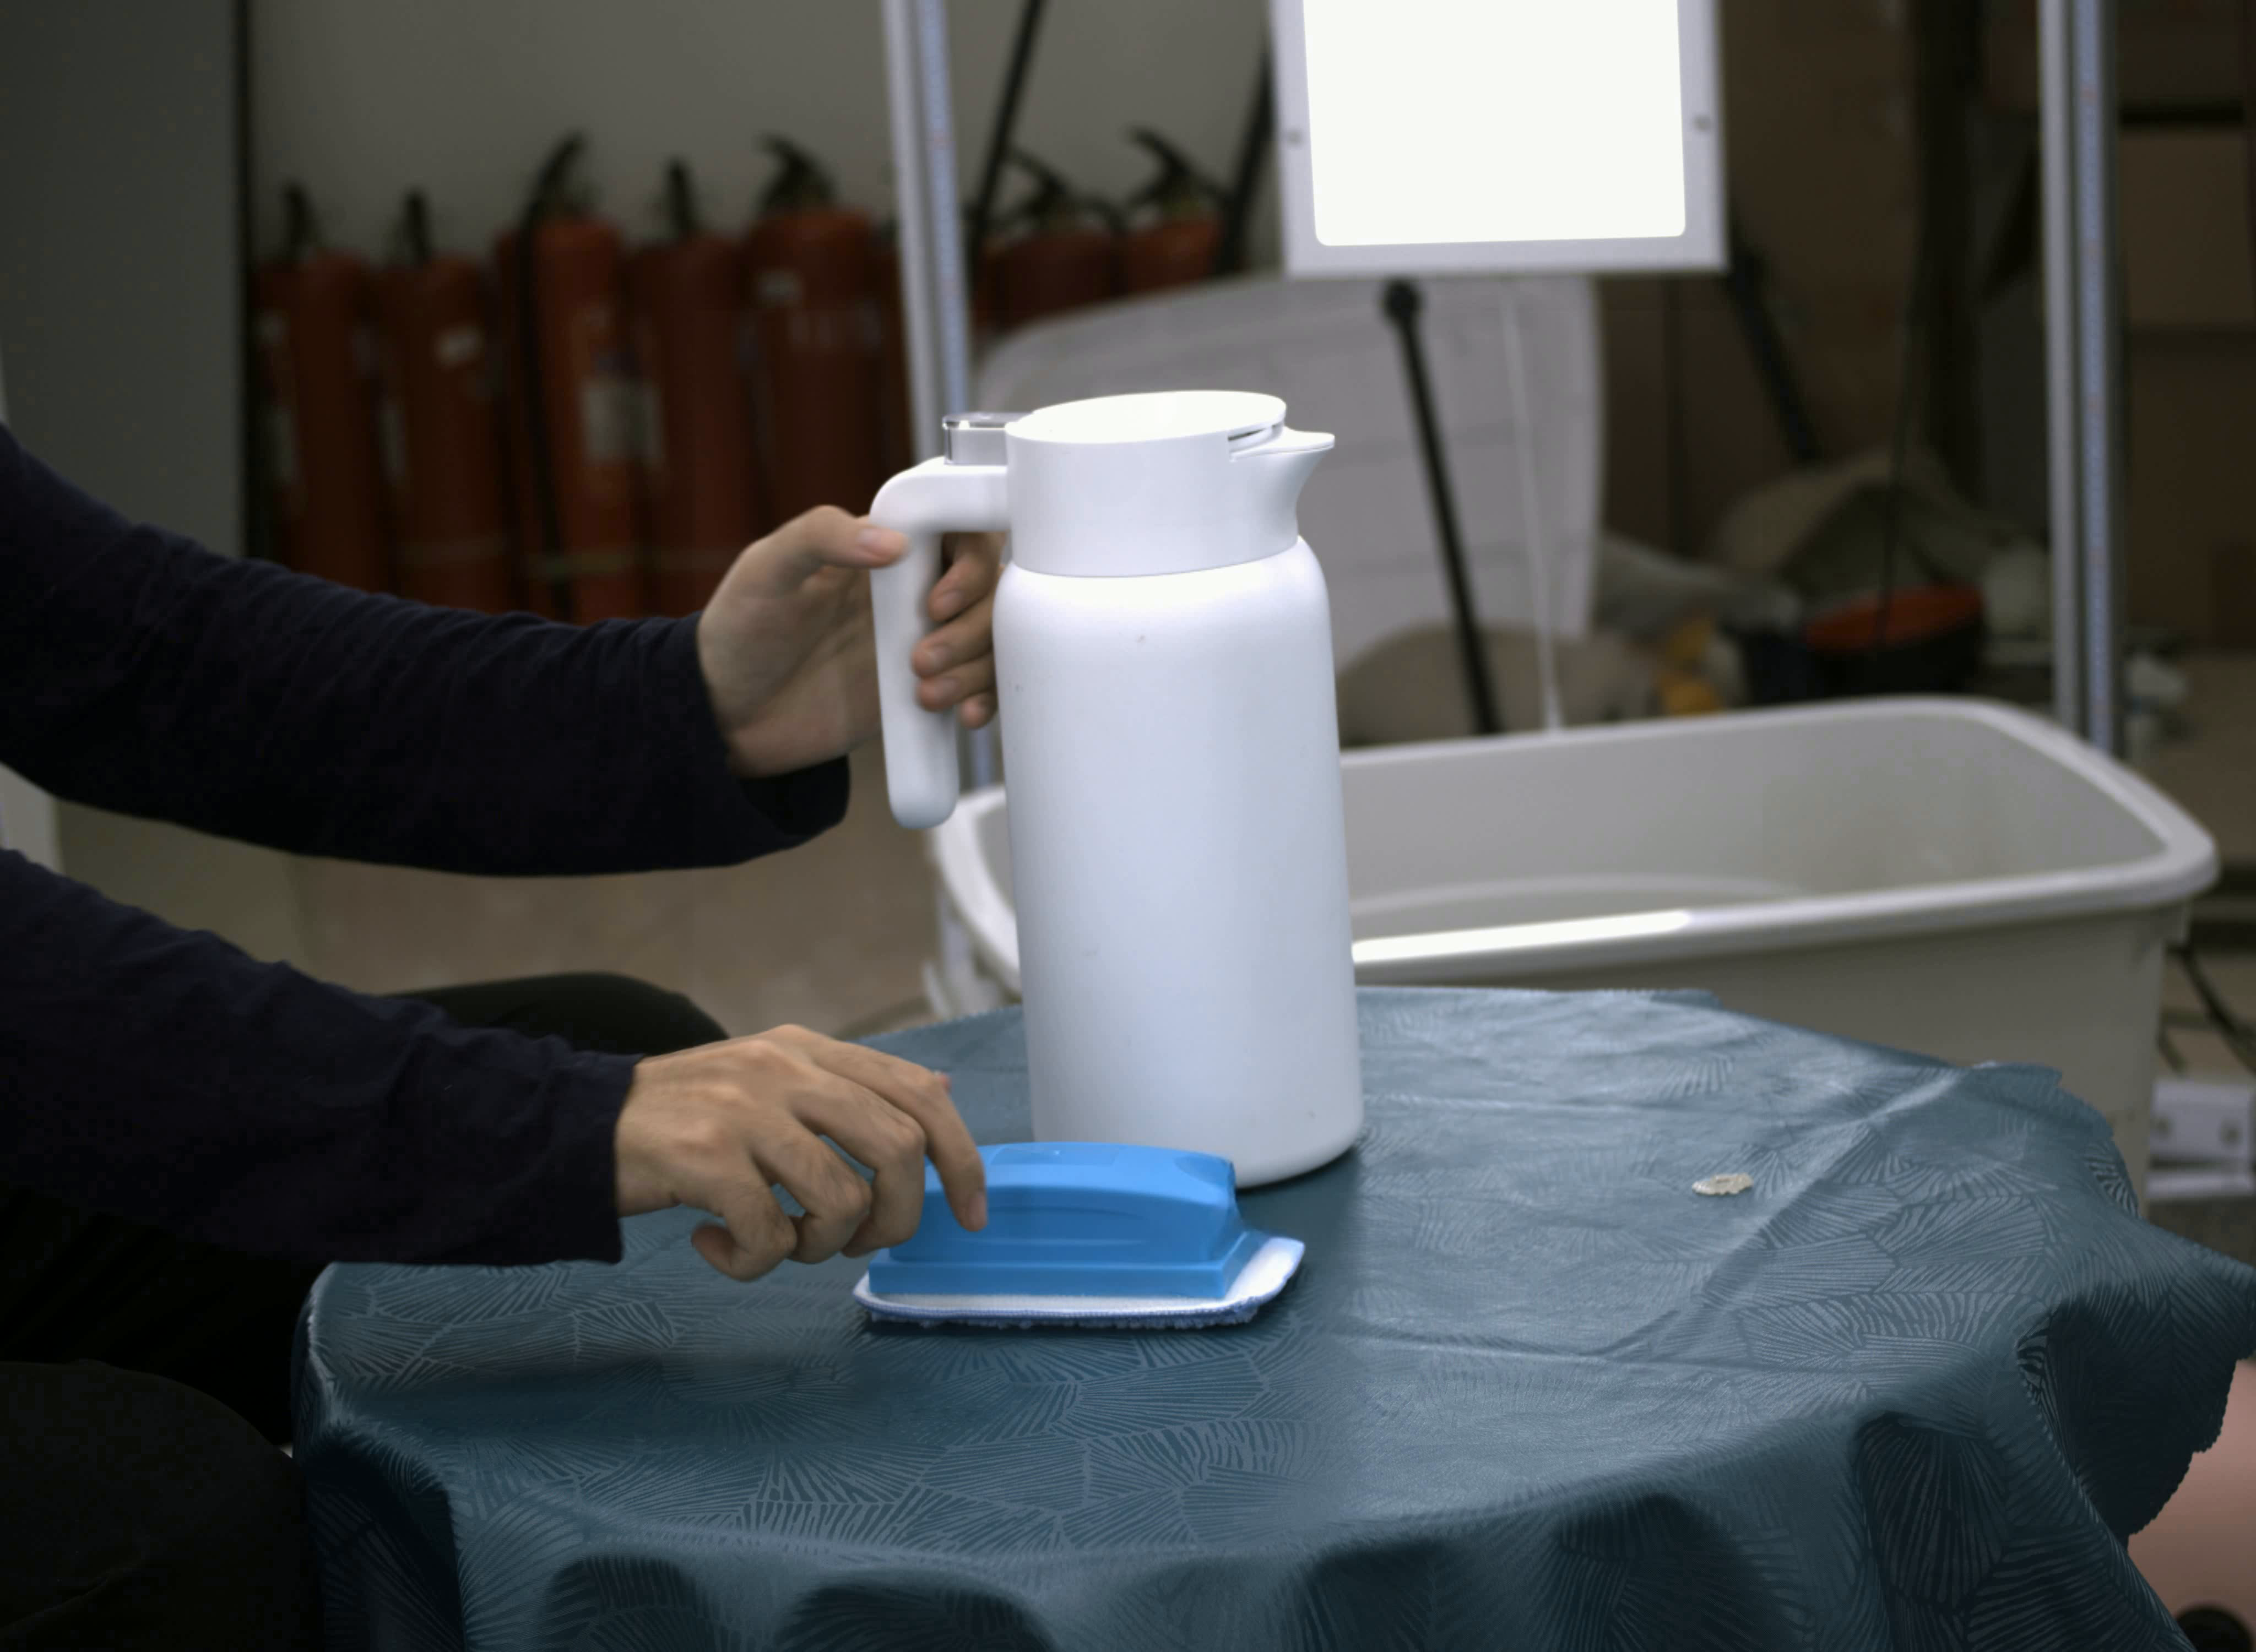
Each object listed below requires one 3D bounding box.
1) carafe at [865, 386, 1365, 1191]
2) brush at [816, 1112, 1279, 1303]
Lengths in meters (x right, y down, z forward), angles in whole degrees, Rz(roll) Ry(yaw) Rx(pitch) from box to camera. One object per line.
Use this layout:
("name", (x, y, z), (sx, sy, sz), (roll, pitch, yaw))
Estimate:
("carafe", (-0.001, -0.013, 1.910), (0.175, 0.270, 0.121), (0, 16, 22))
("brush", (-0.025, 0.123, 1.787), (0.145, 0.056, 0.082), (3, 13, 18))
